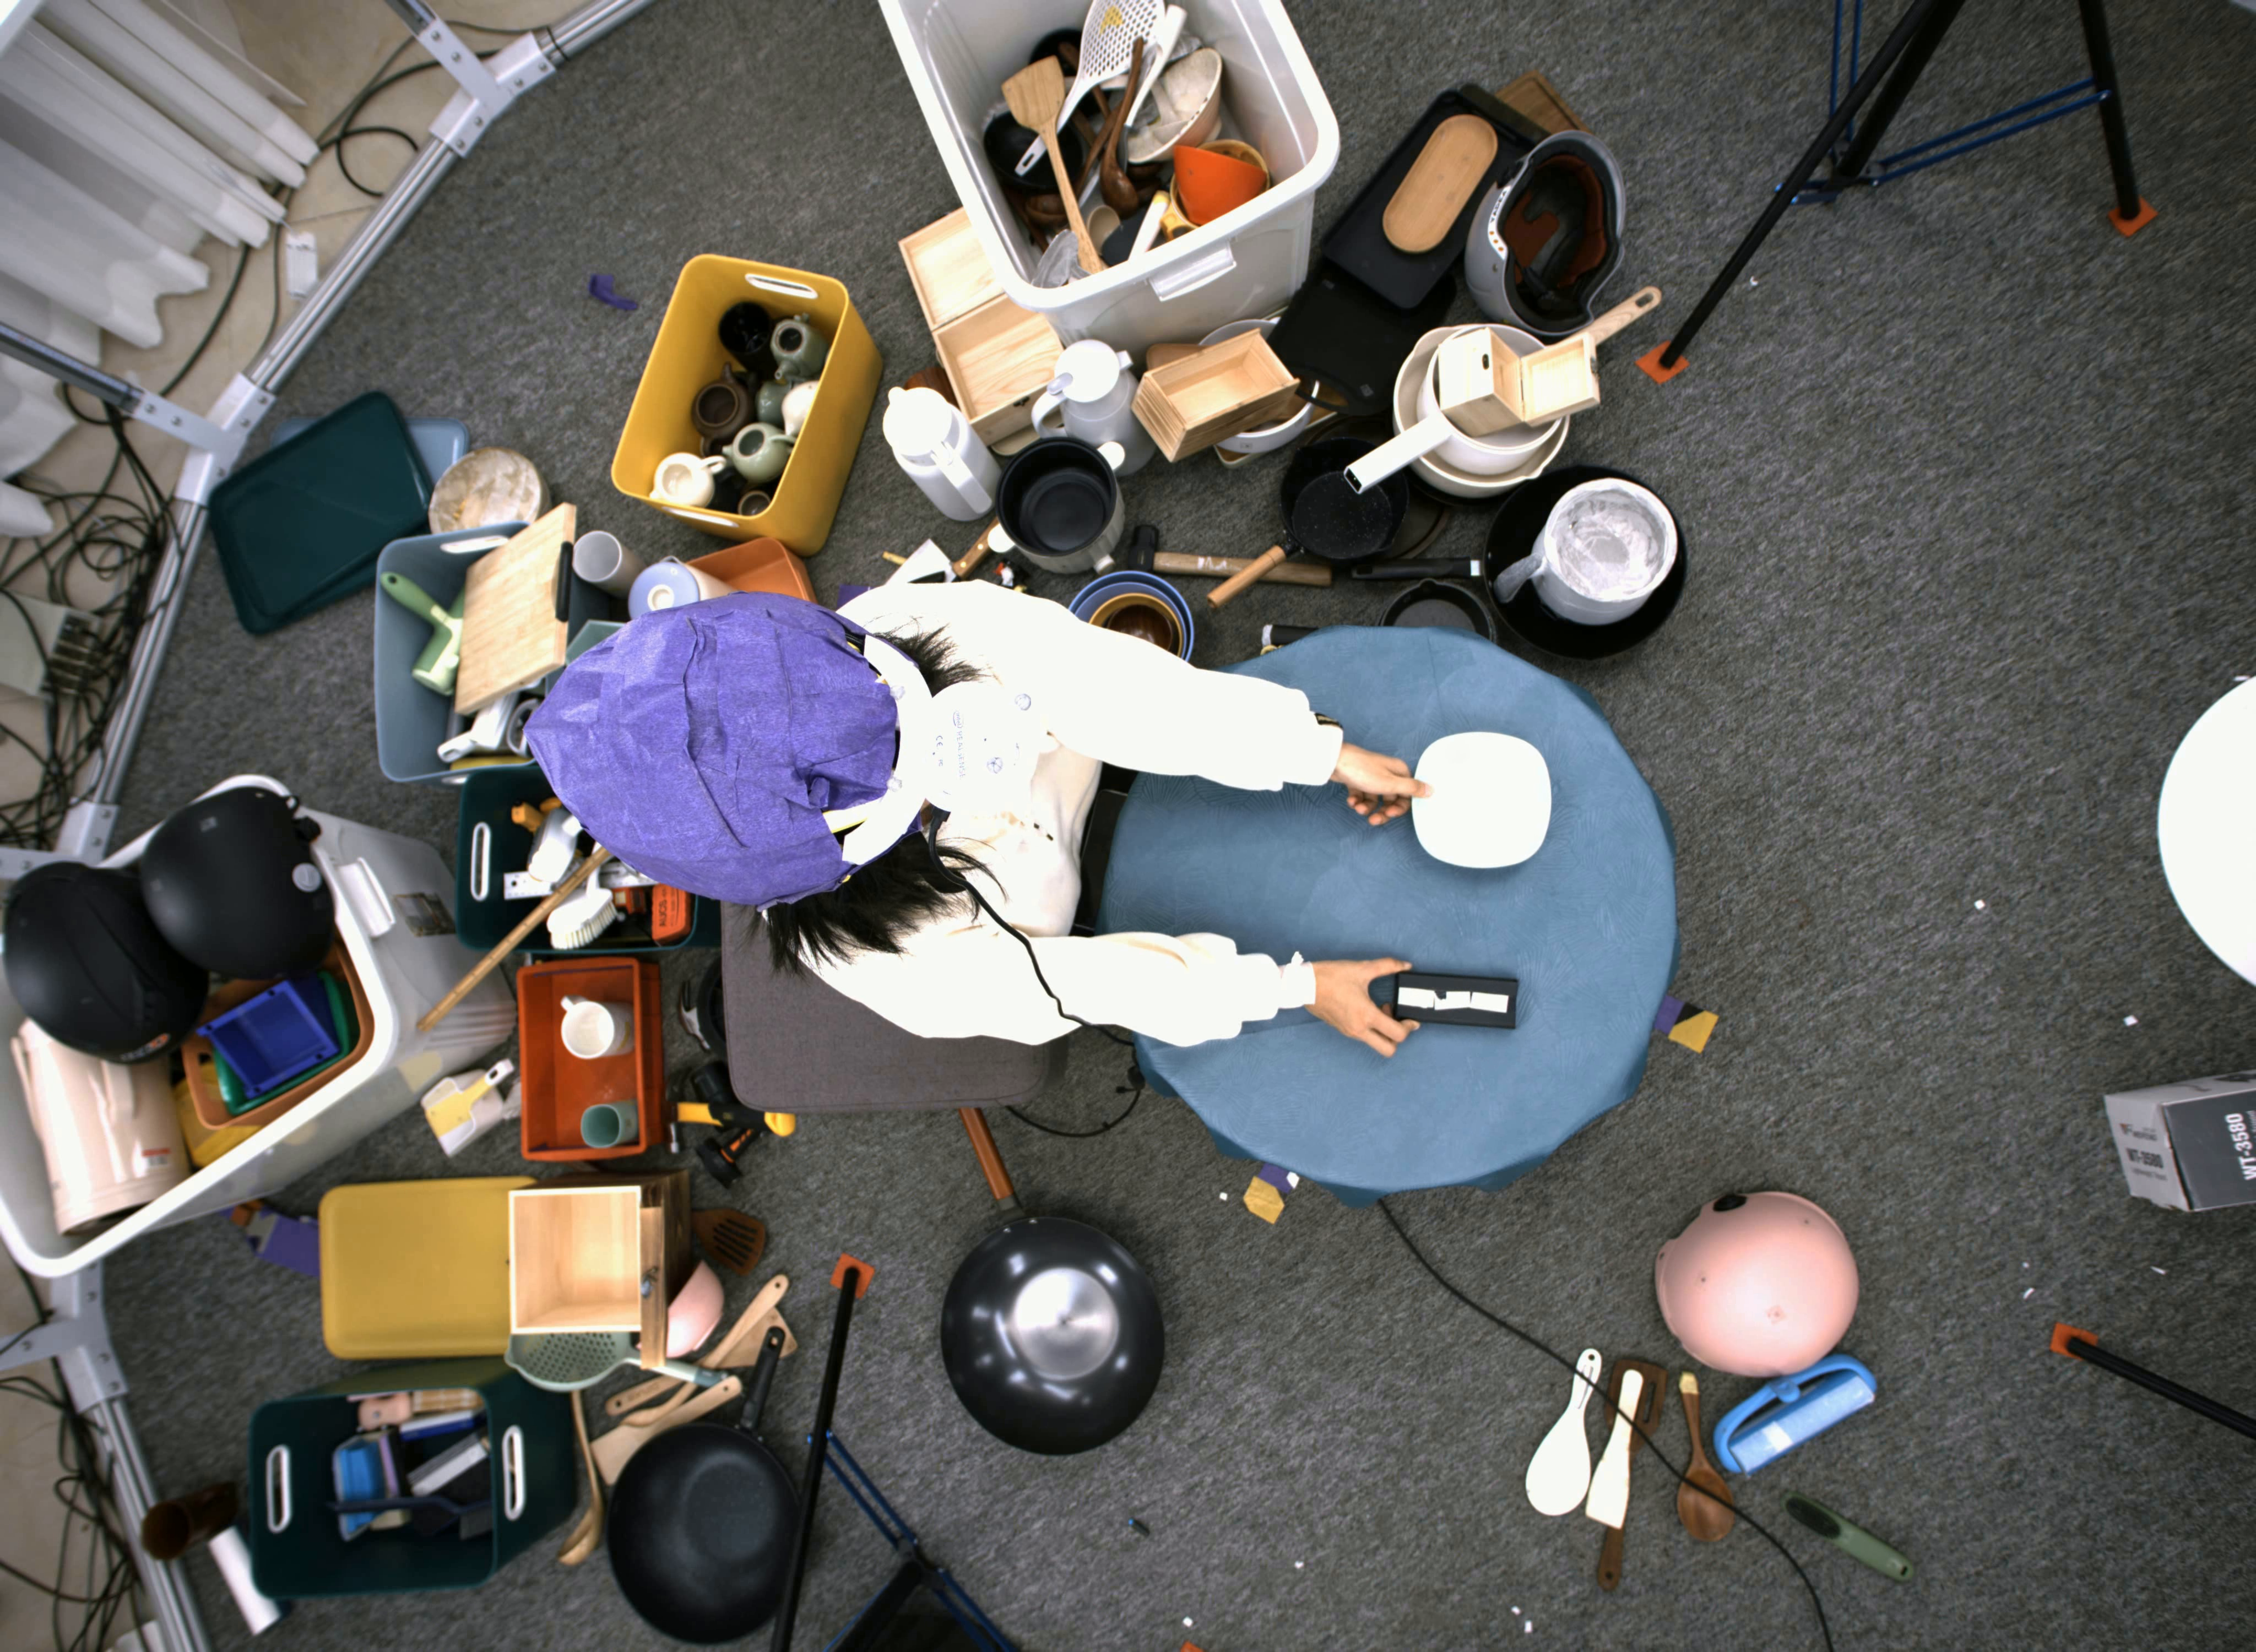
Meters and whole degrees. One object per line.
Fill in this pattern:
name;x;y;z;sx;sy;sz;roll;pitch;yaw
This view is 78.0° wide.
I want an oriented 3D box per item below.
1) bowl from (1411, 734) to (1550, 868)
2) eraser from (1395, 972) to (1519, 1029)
bowl;0.362;-0.024;1.420;0.152;0.059;0.150;-1;83;10
eraser;0.340;0.179;1.428;0.126;0.030;0.053;1;84;13
